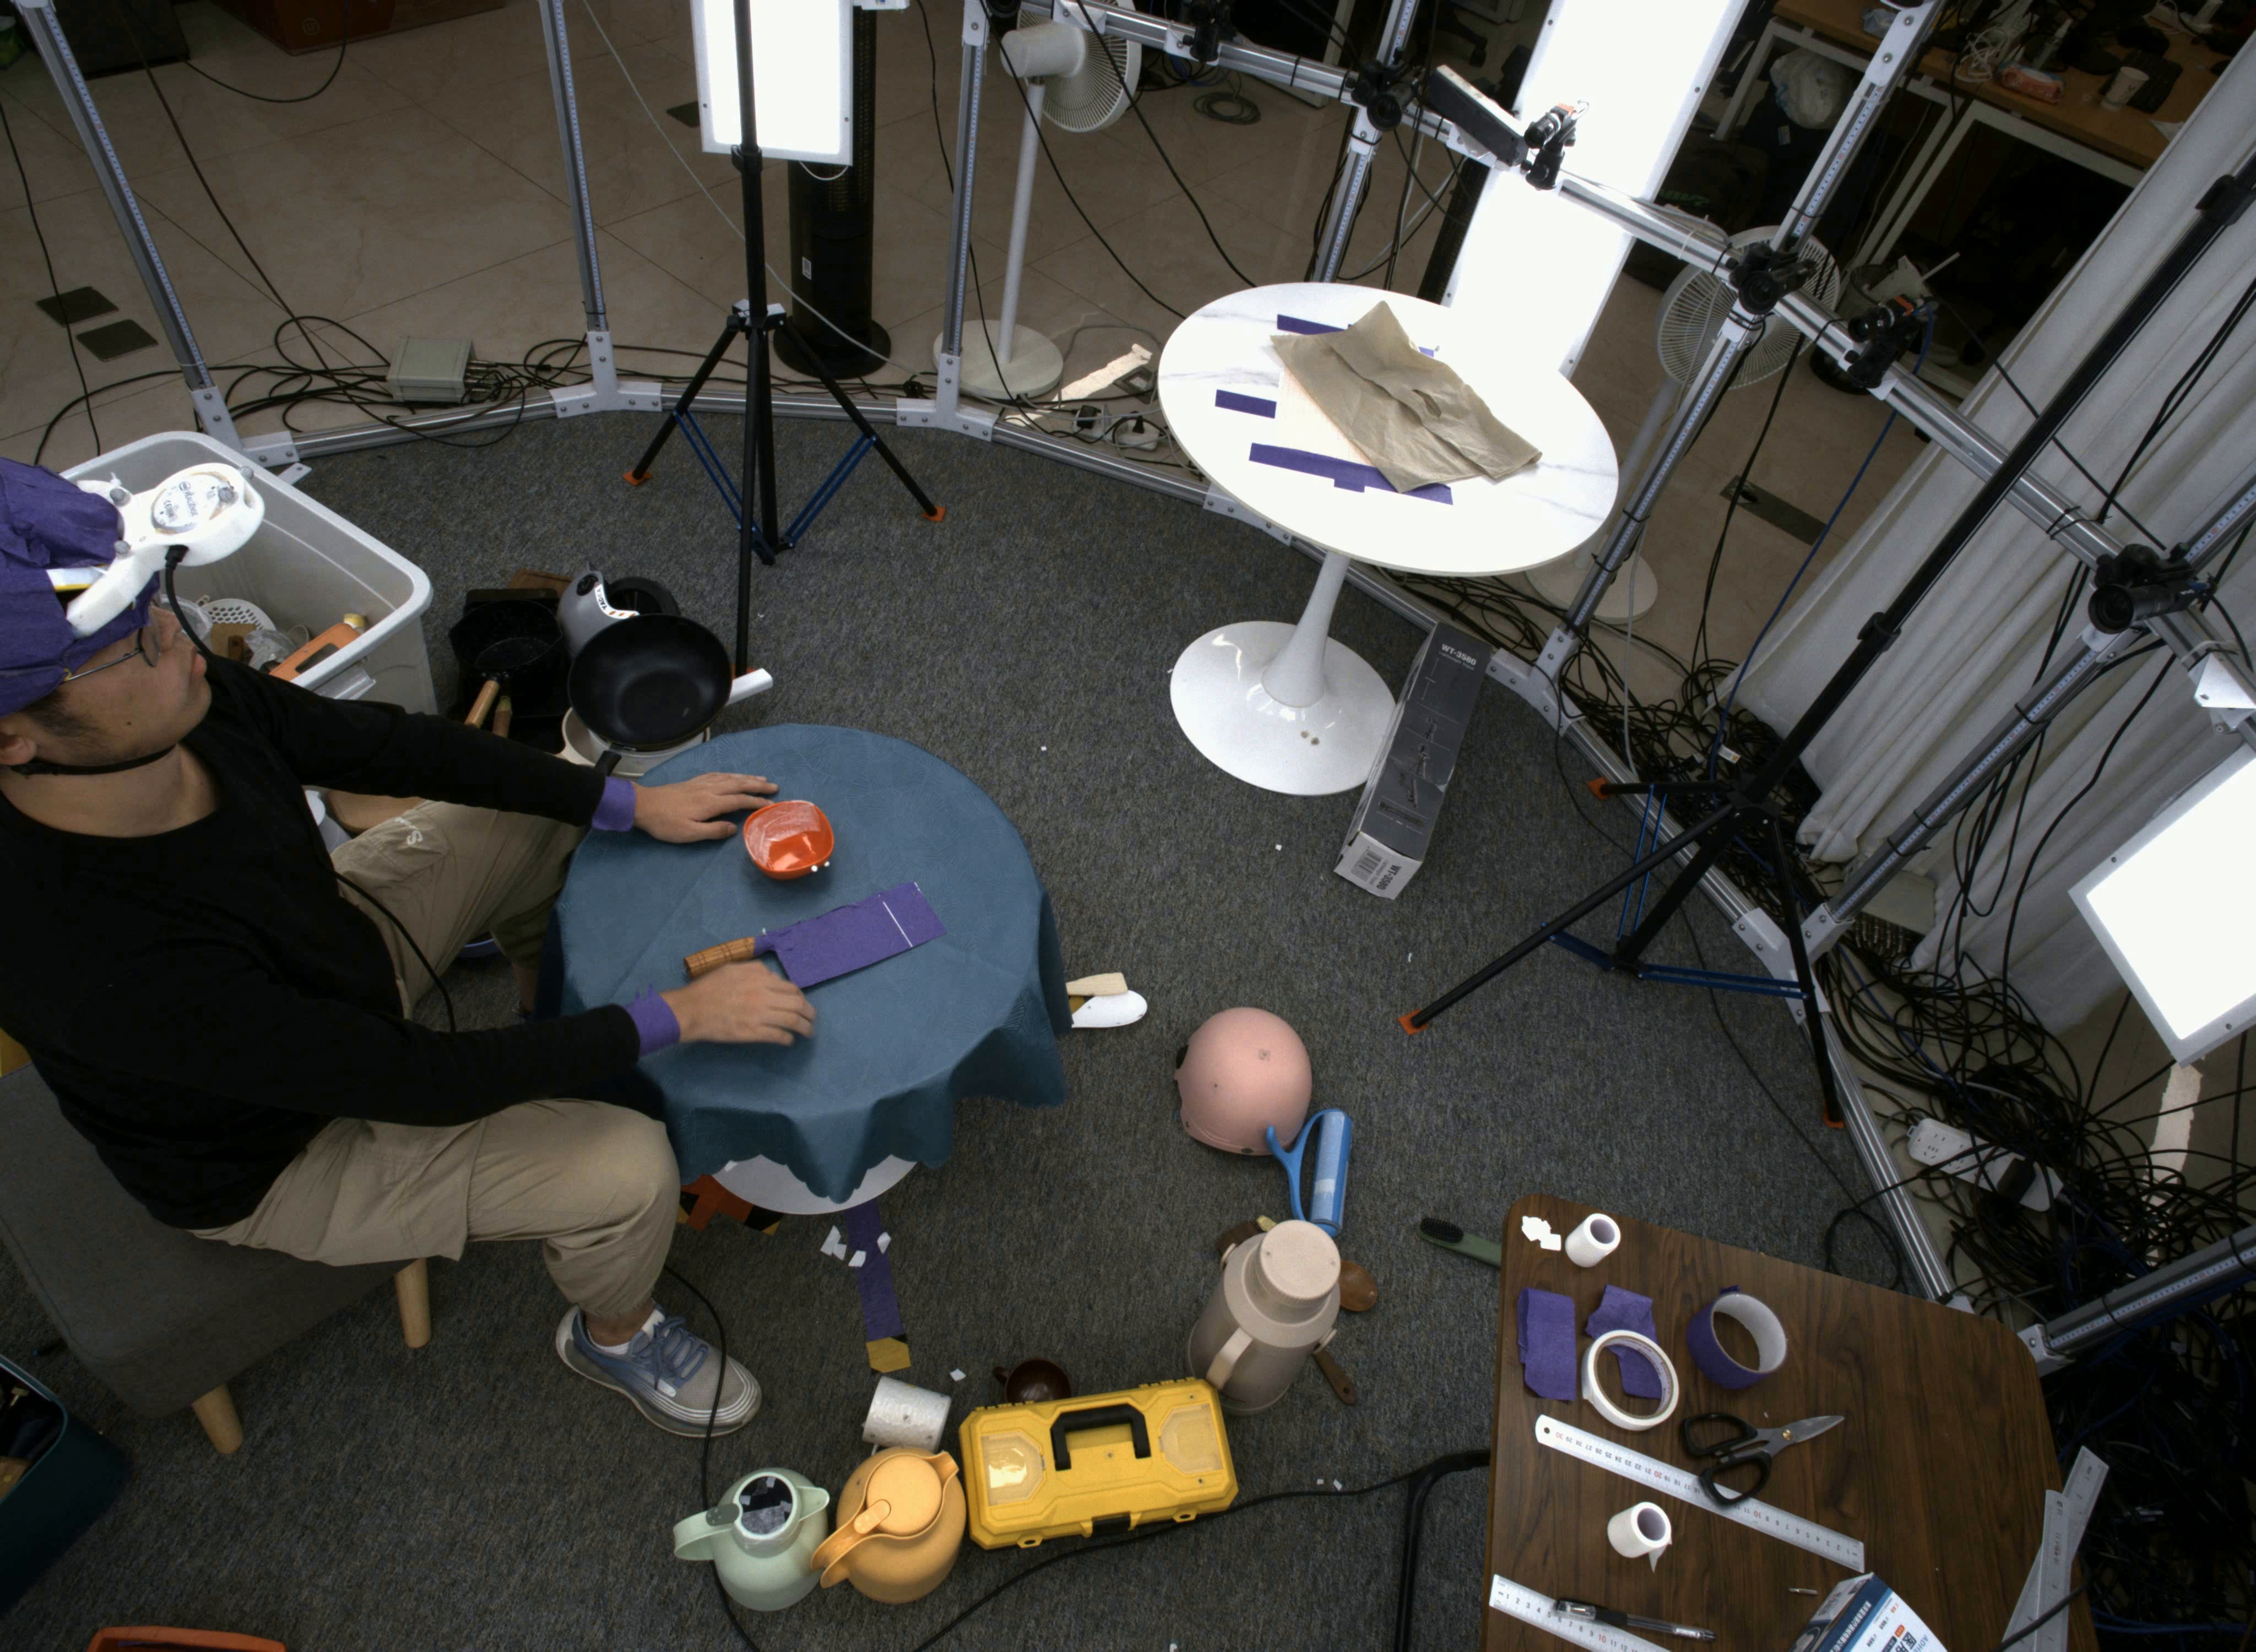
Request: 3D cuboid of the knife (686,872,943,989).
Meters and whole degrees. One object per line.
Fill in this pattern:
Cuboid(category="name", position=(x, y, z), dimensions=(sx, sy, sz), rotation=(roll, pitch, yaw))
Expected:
Cuboid(category="knife", position=(-0.381, 0.145, 1.607), dimensions=(0.317, 0.033, 0.101), rotation=(-23, 62, -29))

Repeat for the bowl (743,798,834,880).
Cuboid(category="bowl", position=(-0.436, 0.023, 1.664), dimensions=(0.119, 0.052, 0.117), rotation=(9, 51, -9))
